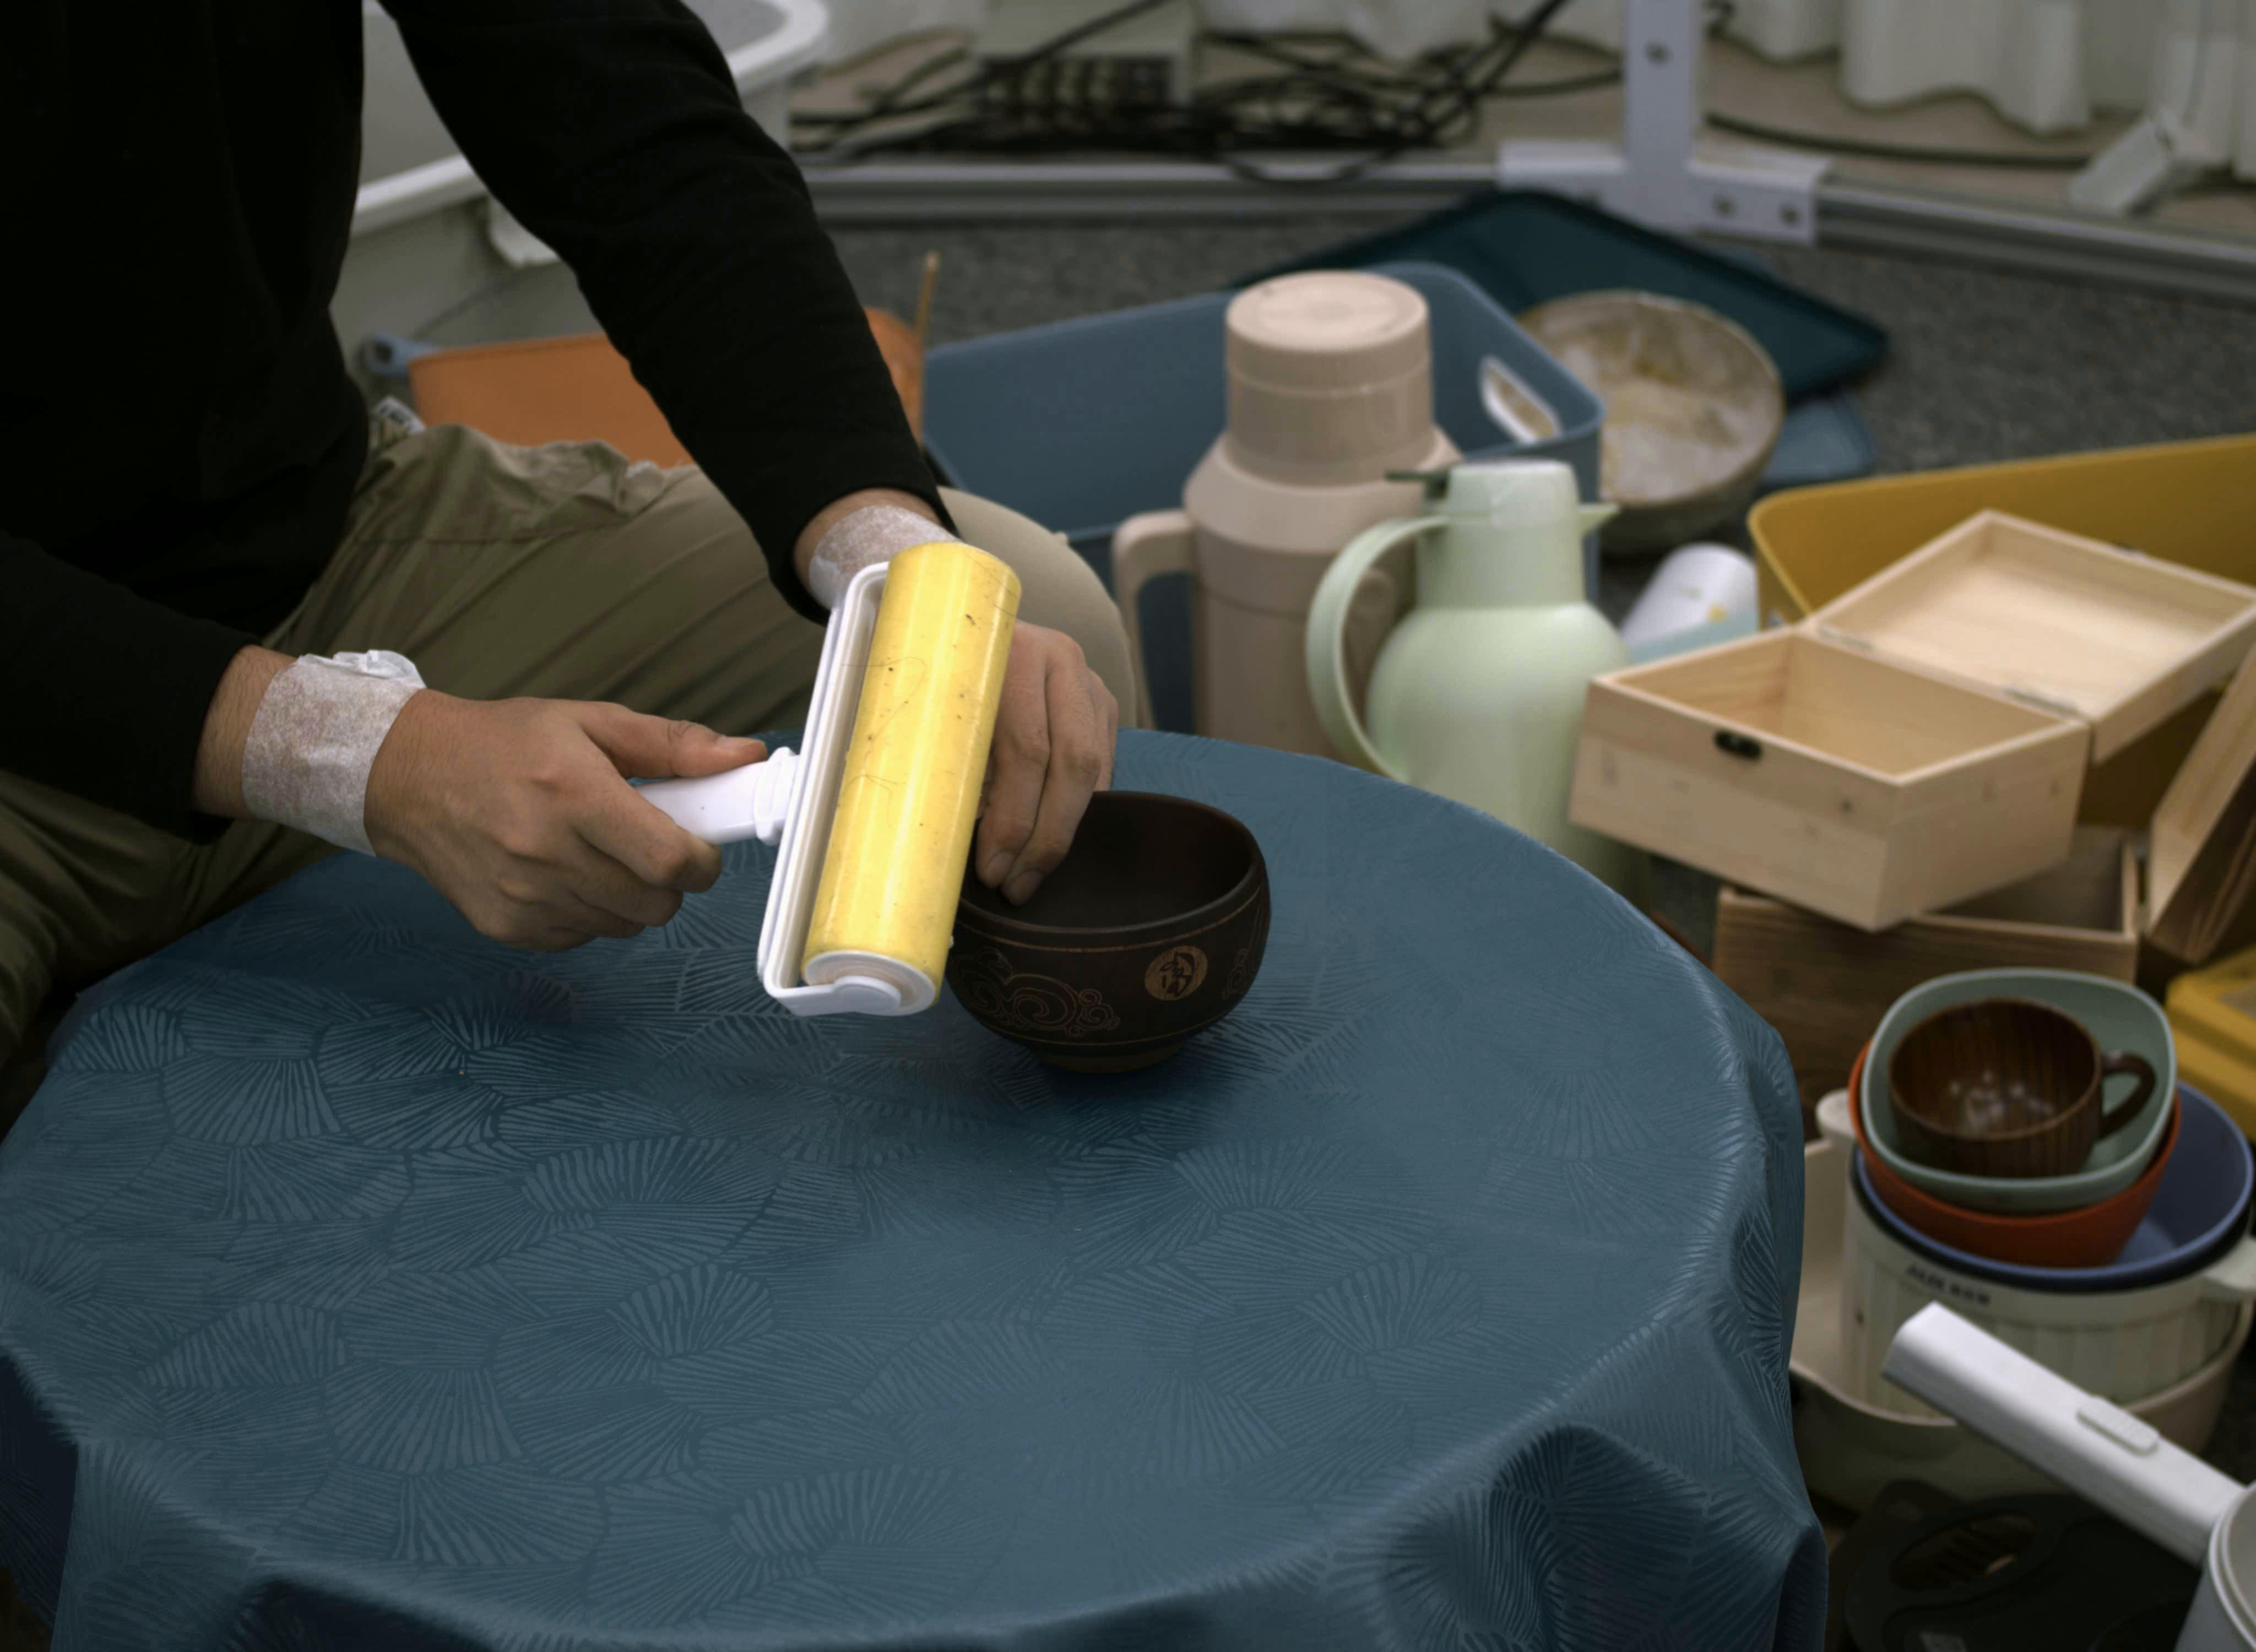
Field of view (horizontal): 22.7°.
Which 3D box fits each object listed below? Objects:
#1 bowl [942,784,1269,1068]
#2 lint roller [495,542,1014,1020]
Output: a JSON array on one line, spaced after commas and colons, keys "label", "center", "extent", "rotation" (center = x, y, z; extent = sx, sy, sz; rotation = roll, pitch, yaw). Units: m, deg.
[{"label": "bowl", "center": [-0.010, 0.040, 1.936], "extent": [0.117, 0.069, 0.119], "rotation": [0, 23, 1]}, {"label": "lint roller", "center": [-0.139, -0.010, 1.926], "extent": [0.190, 0.051, 0.178], "rotation": [-4, 57, 20]}]
